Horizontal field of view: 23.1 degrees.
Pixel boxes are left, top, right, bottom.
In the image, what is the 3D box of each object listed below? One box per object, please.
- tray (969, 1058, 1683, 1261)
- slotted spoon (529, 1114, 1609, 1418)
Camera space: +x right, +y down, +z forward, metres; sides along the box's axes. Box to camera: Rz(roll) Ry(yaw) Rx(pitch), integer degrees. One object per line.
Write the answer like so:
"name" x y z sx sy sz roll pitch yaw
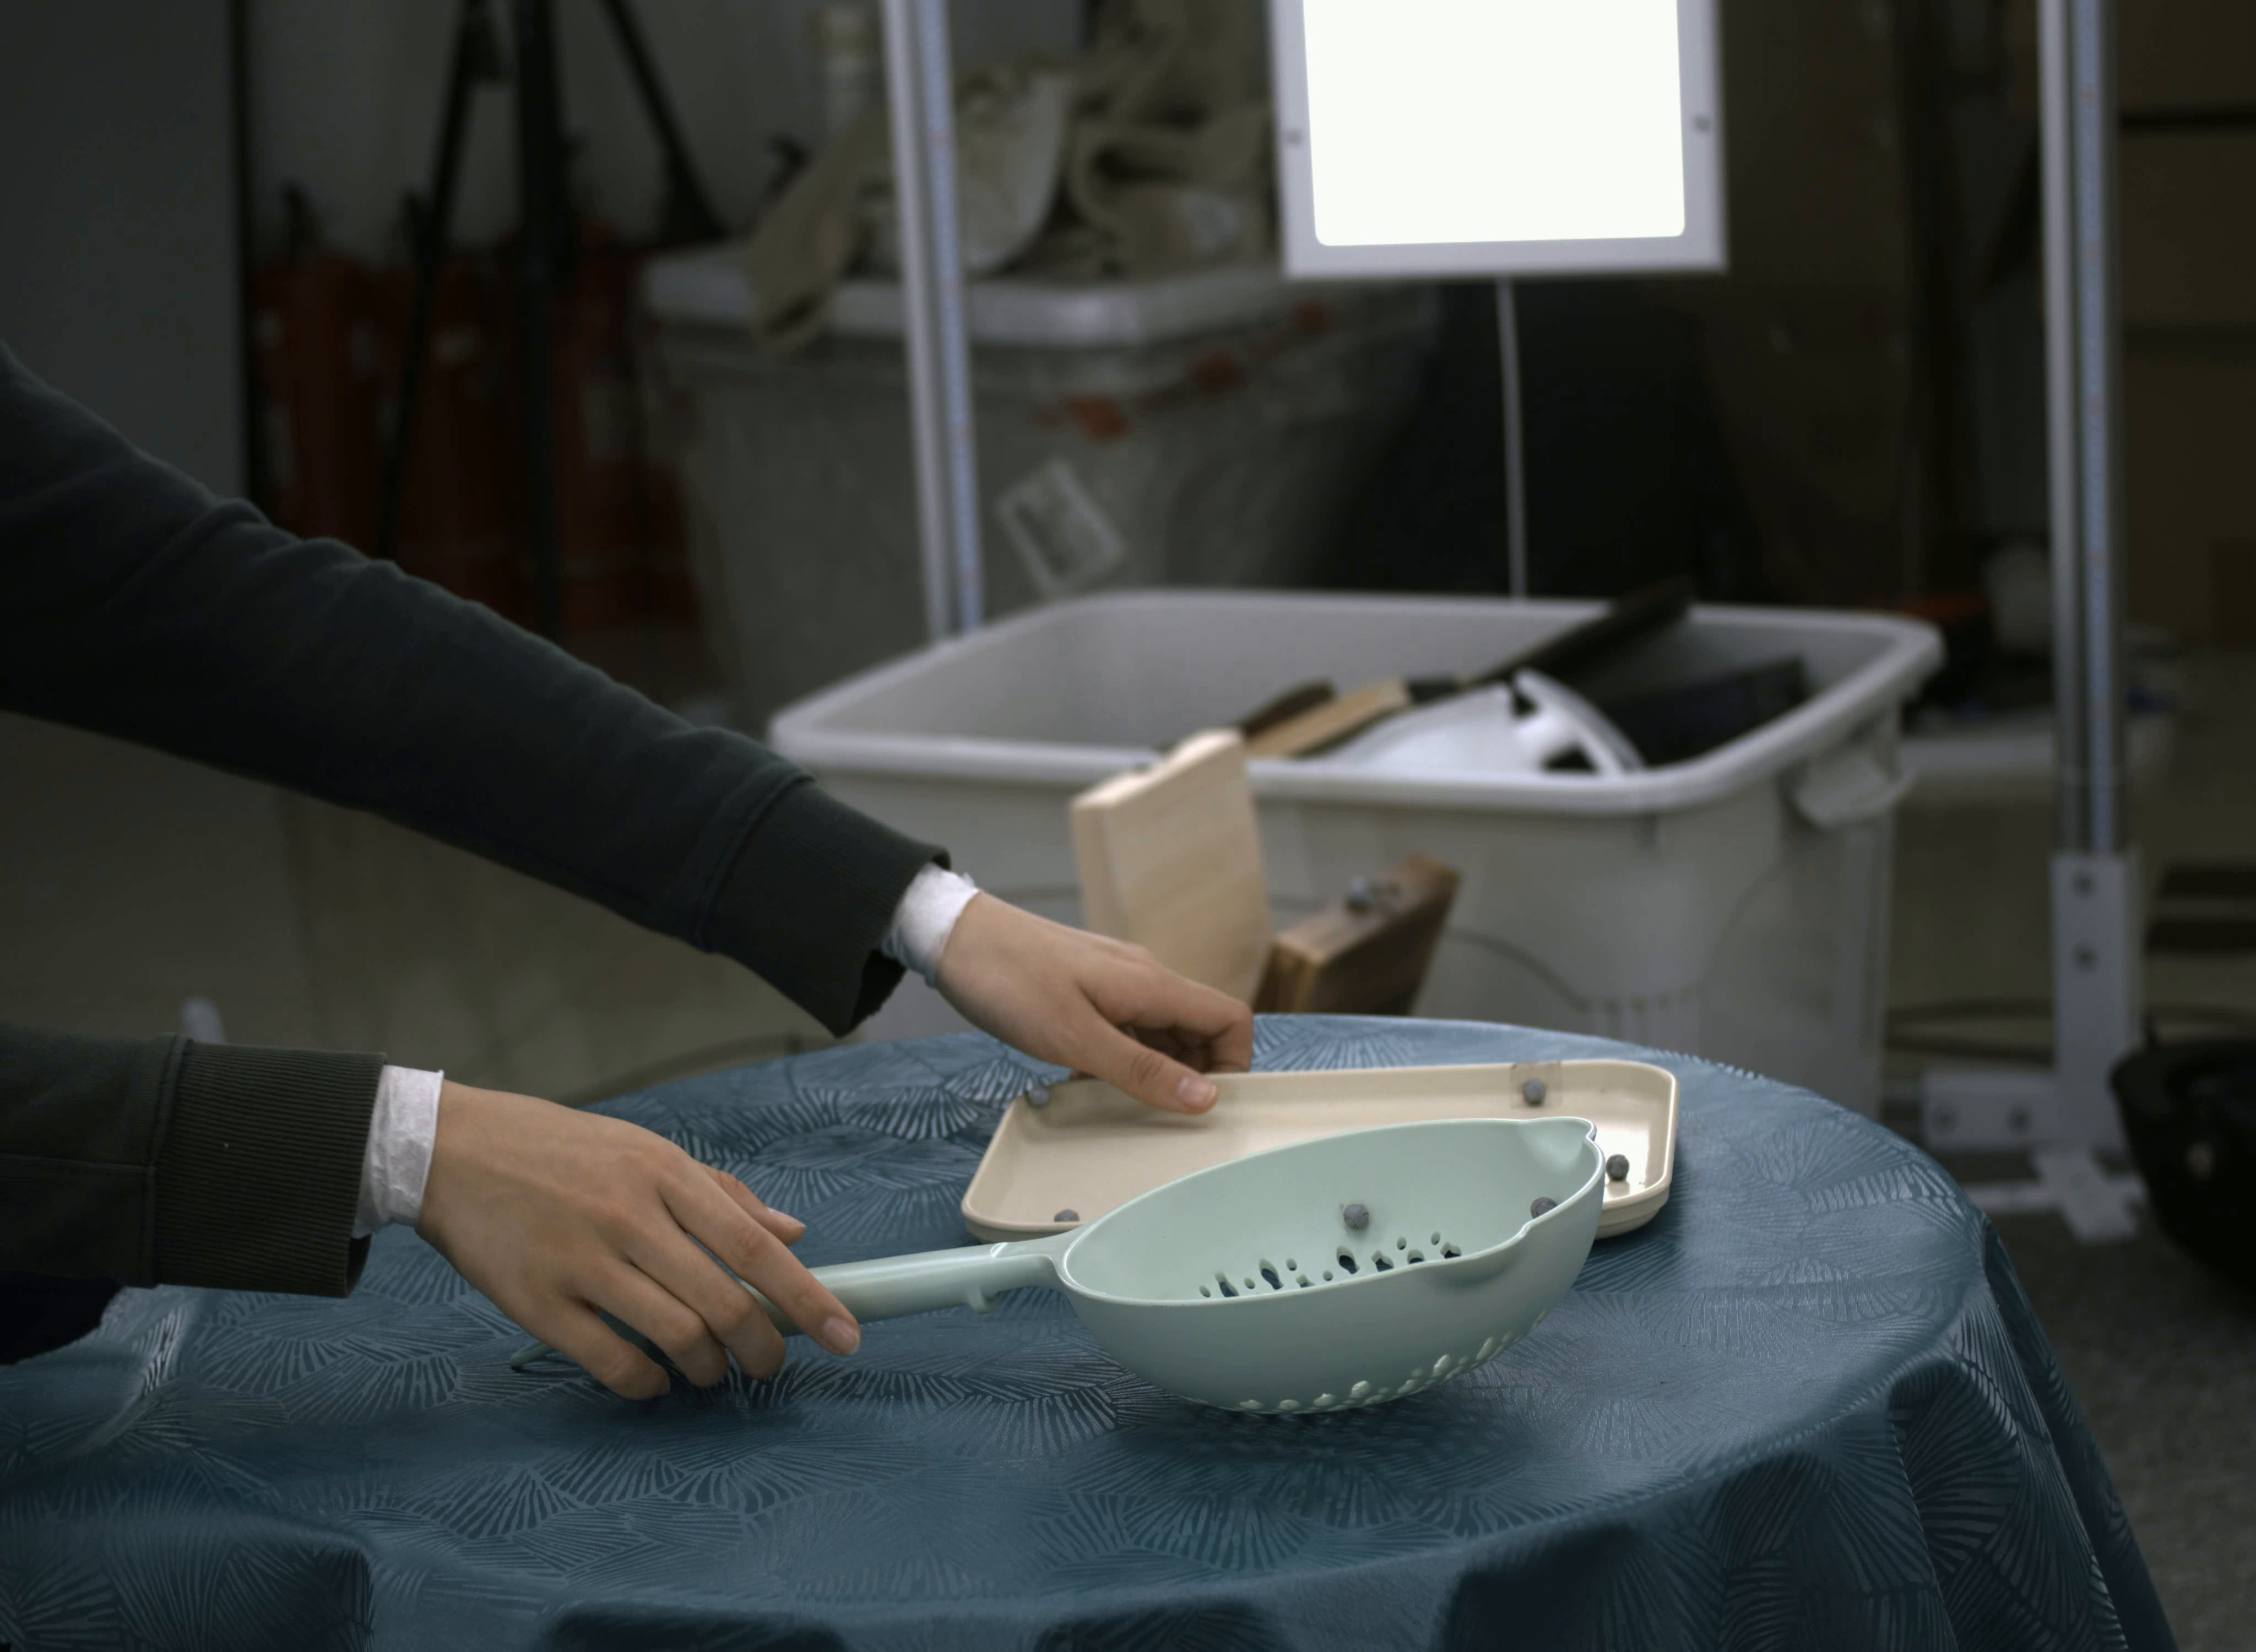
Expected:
"tray" 0.071 0.116 1.883 0.241 0.017 0.170 -4 14 10
"slotted spoon" -0.025 0.142 1.711 0.363 0.075 0.166 -1 14 20
